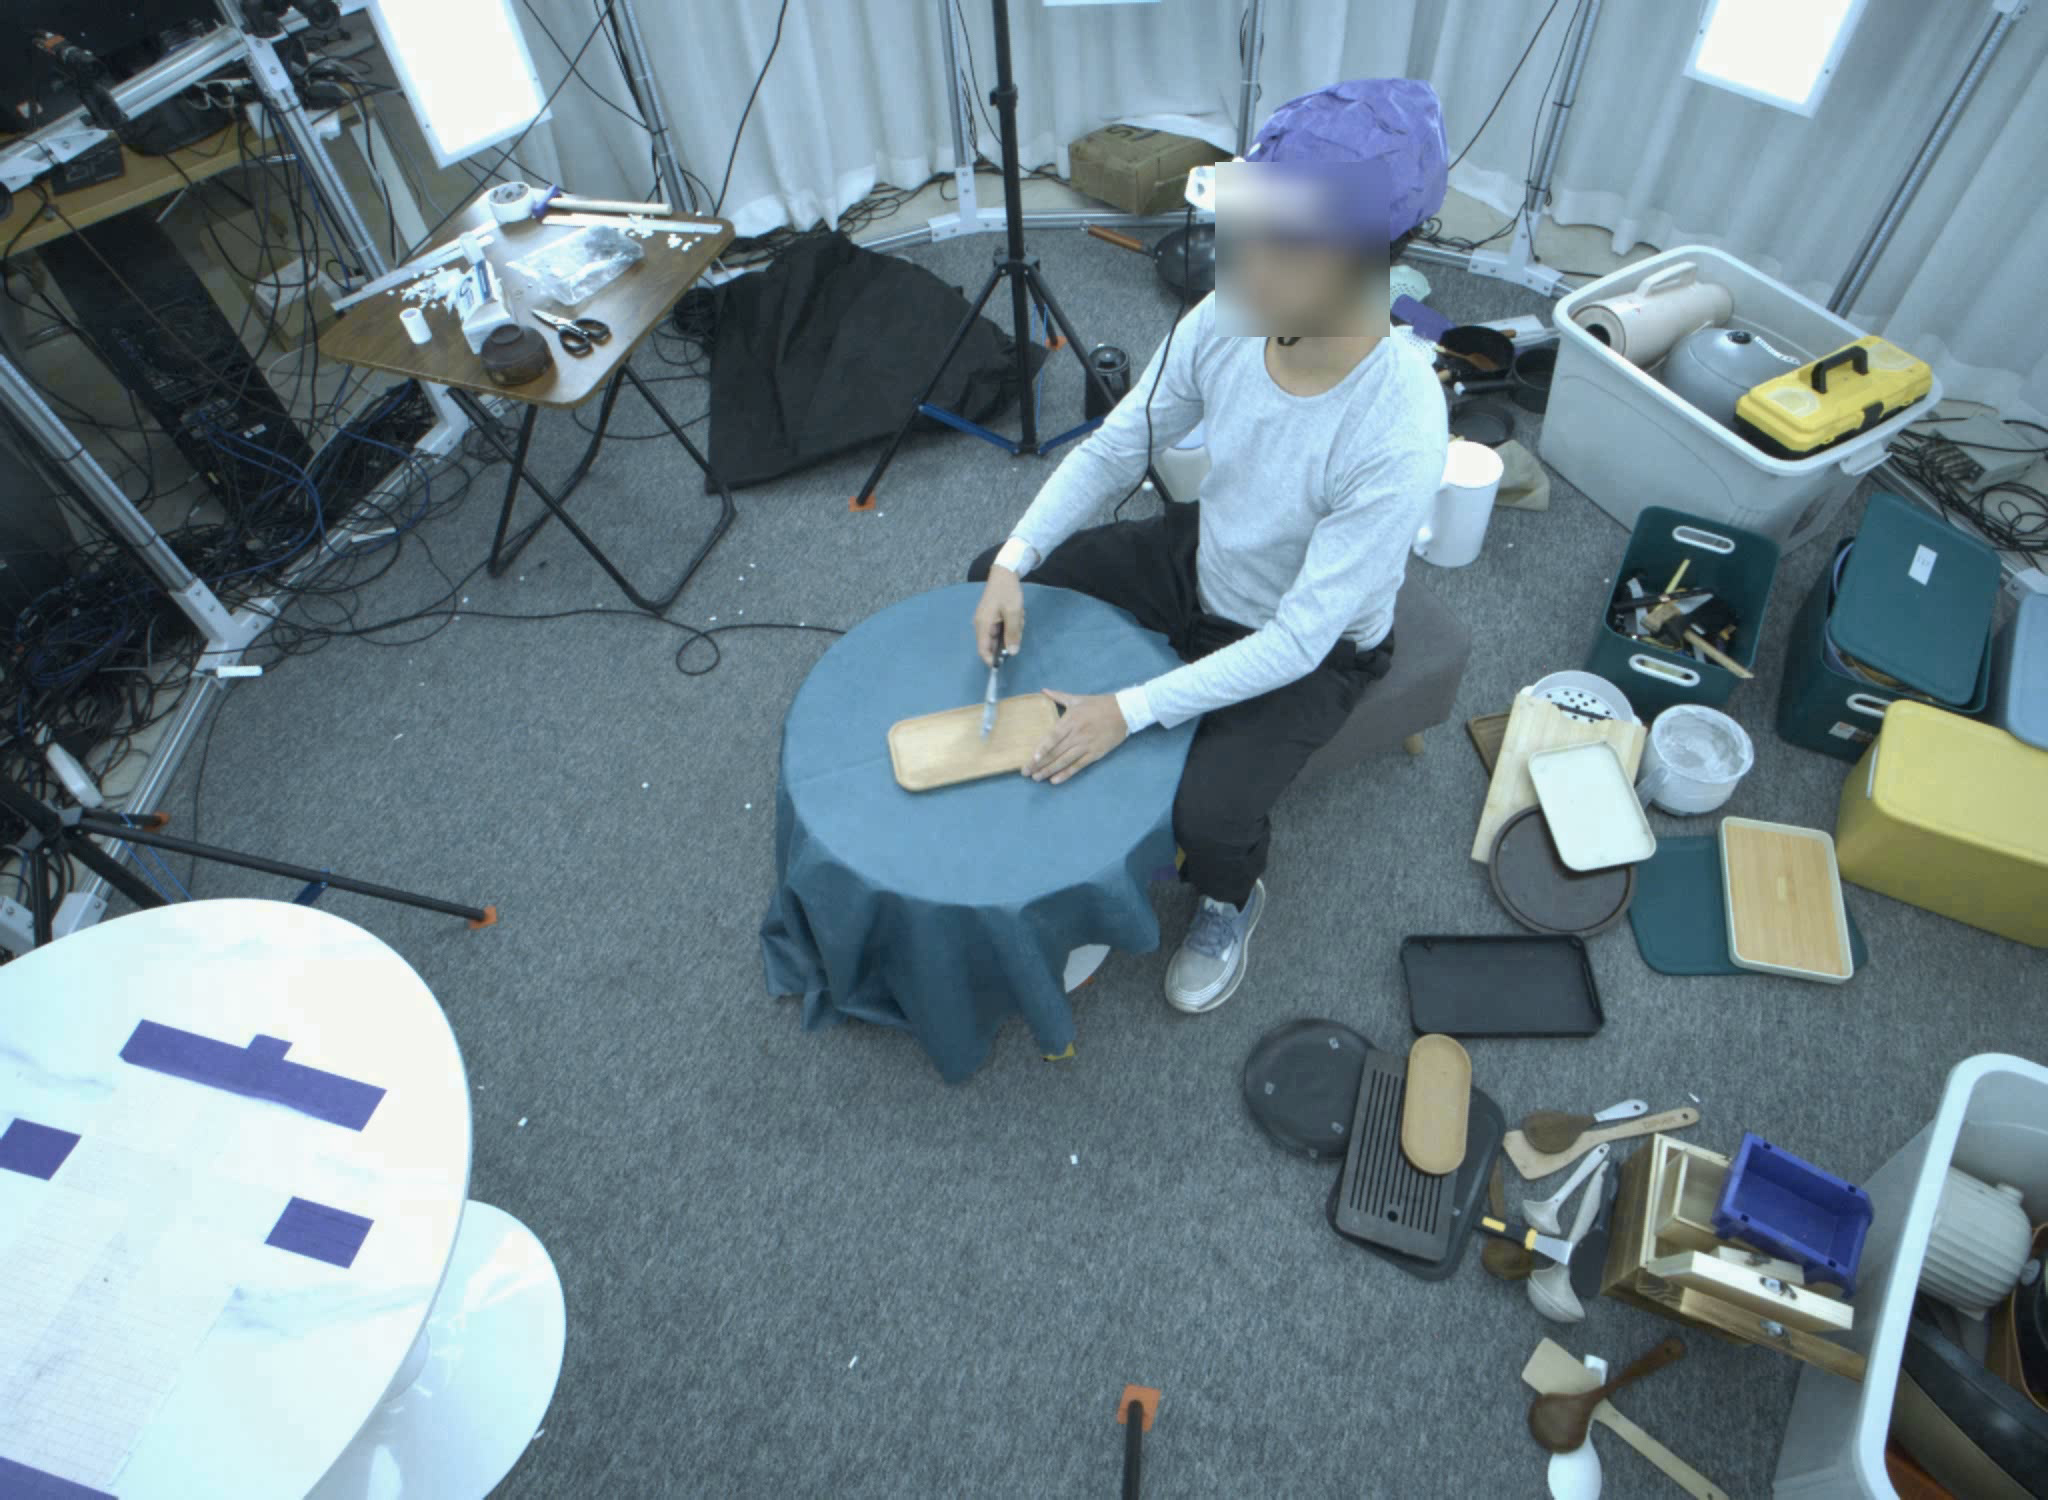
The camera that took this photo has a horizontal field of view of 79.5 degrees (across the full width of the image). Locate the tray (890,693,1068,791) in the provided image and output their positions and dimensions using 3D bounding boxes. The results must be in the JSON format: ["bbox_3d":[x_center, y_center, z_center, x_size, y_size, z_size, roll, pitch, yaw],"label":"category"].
[{"bbox_3d":[-0.067,-0.013,1.796,0.252,0.023,0.128,-10,58,-7],"label":"tray"}]

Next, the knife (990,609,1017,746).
[{"bbox_3d":[-0.033,-0.110,1.801,0.025,0.016,0.236,17,60,-18],"label":"knife"}]
